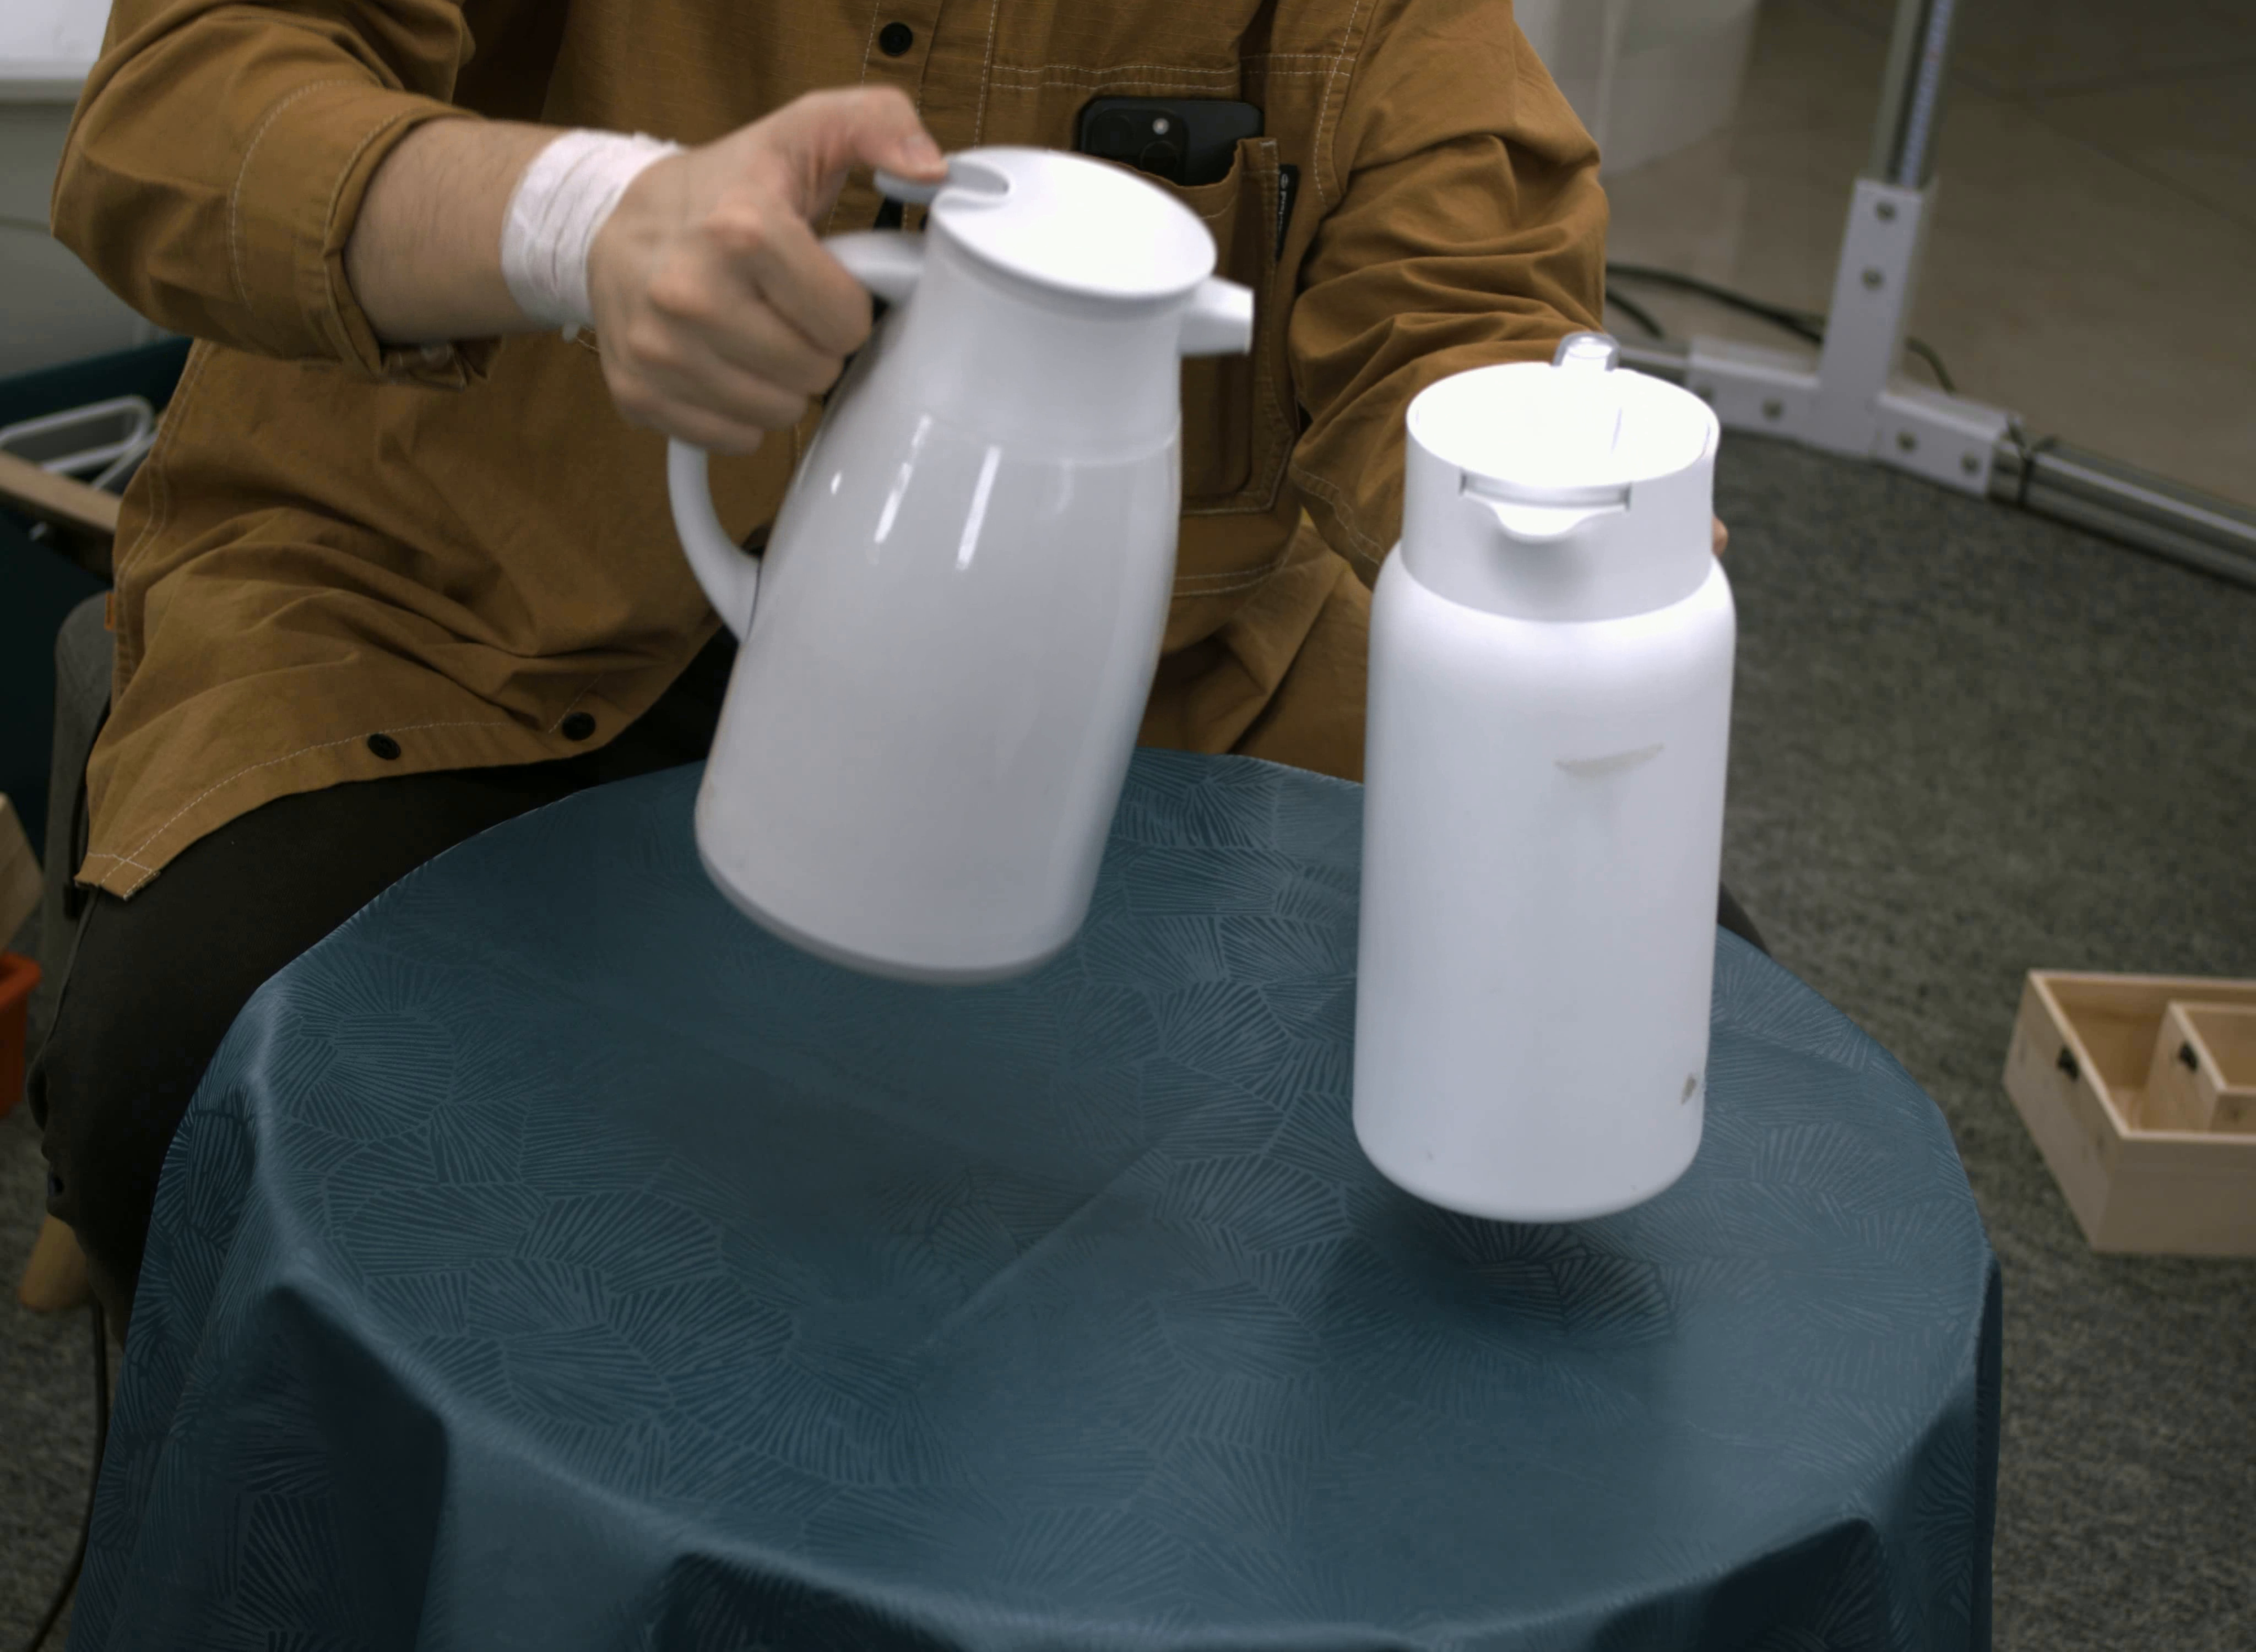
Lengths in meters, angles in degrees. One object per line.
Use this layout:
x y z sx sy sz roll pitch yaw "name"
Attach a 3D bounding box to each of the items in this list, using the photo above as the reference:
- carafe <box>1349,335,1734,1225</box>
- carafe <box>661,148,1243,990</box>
0.136 -0.019 1.739 0.124 0.268 0.173 4 26 10 "carafe"
-0.067 -0.090 1.667 0.167 0.248 0.133 12 30 -6 "carafe"
